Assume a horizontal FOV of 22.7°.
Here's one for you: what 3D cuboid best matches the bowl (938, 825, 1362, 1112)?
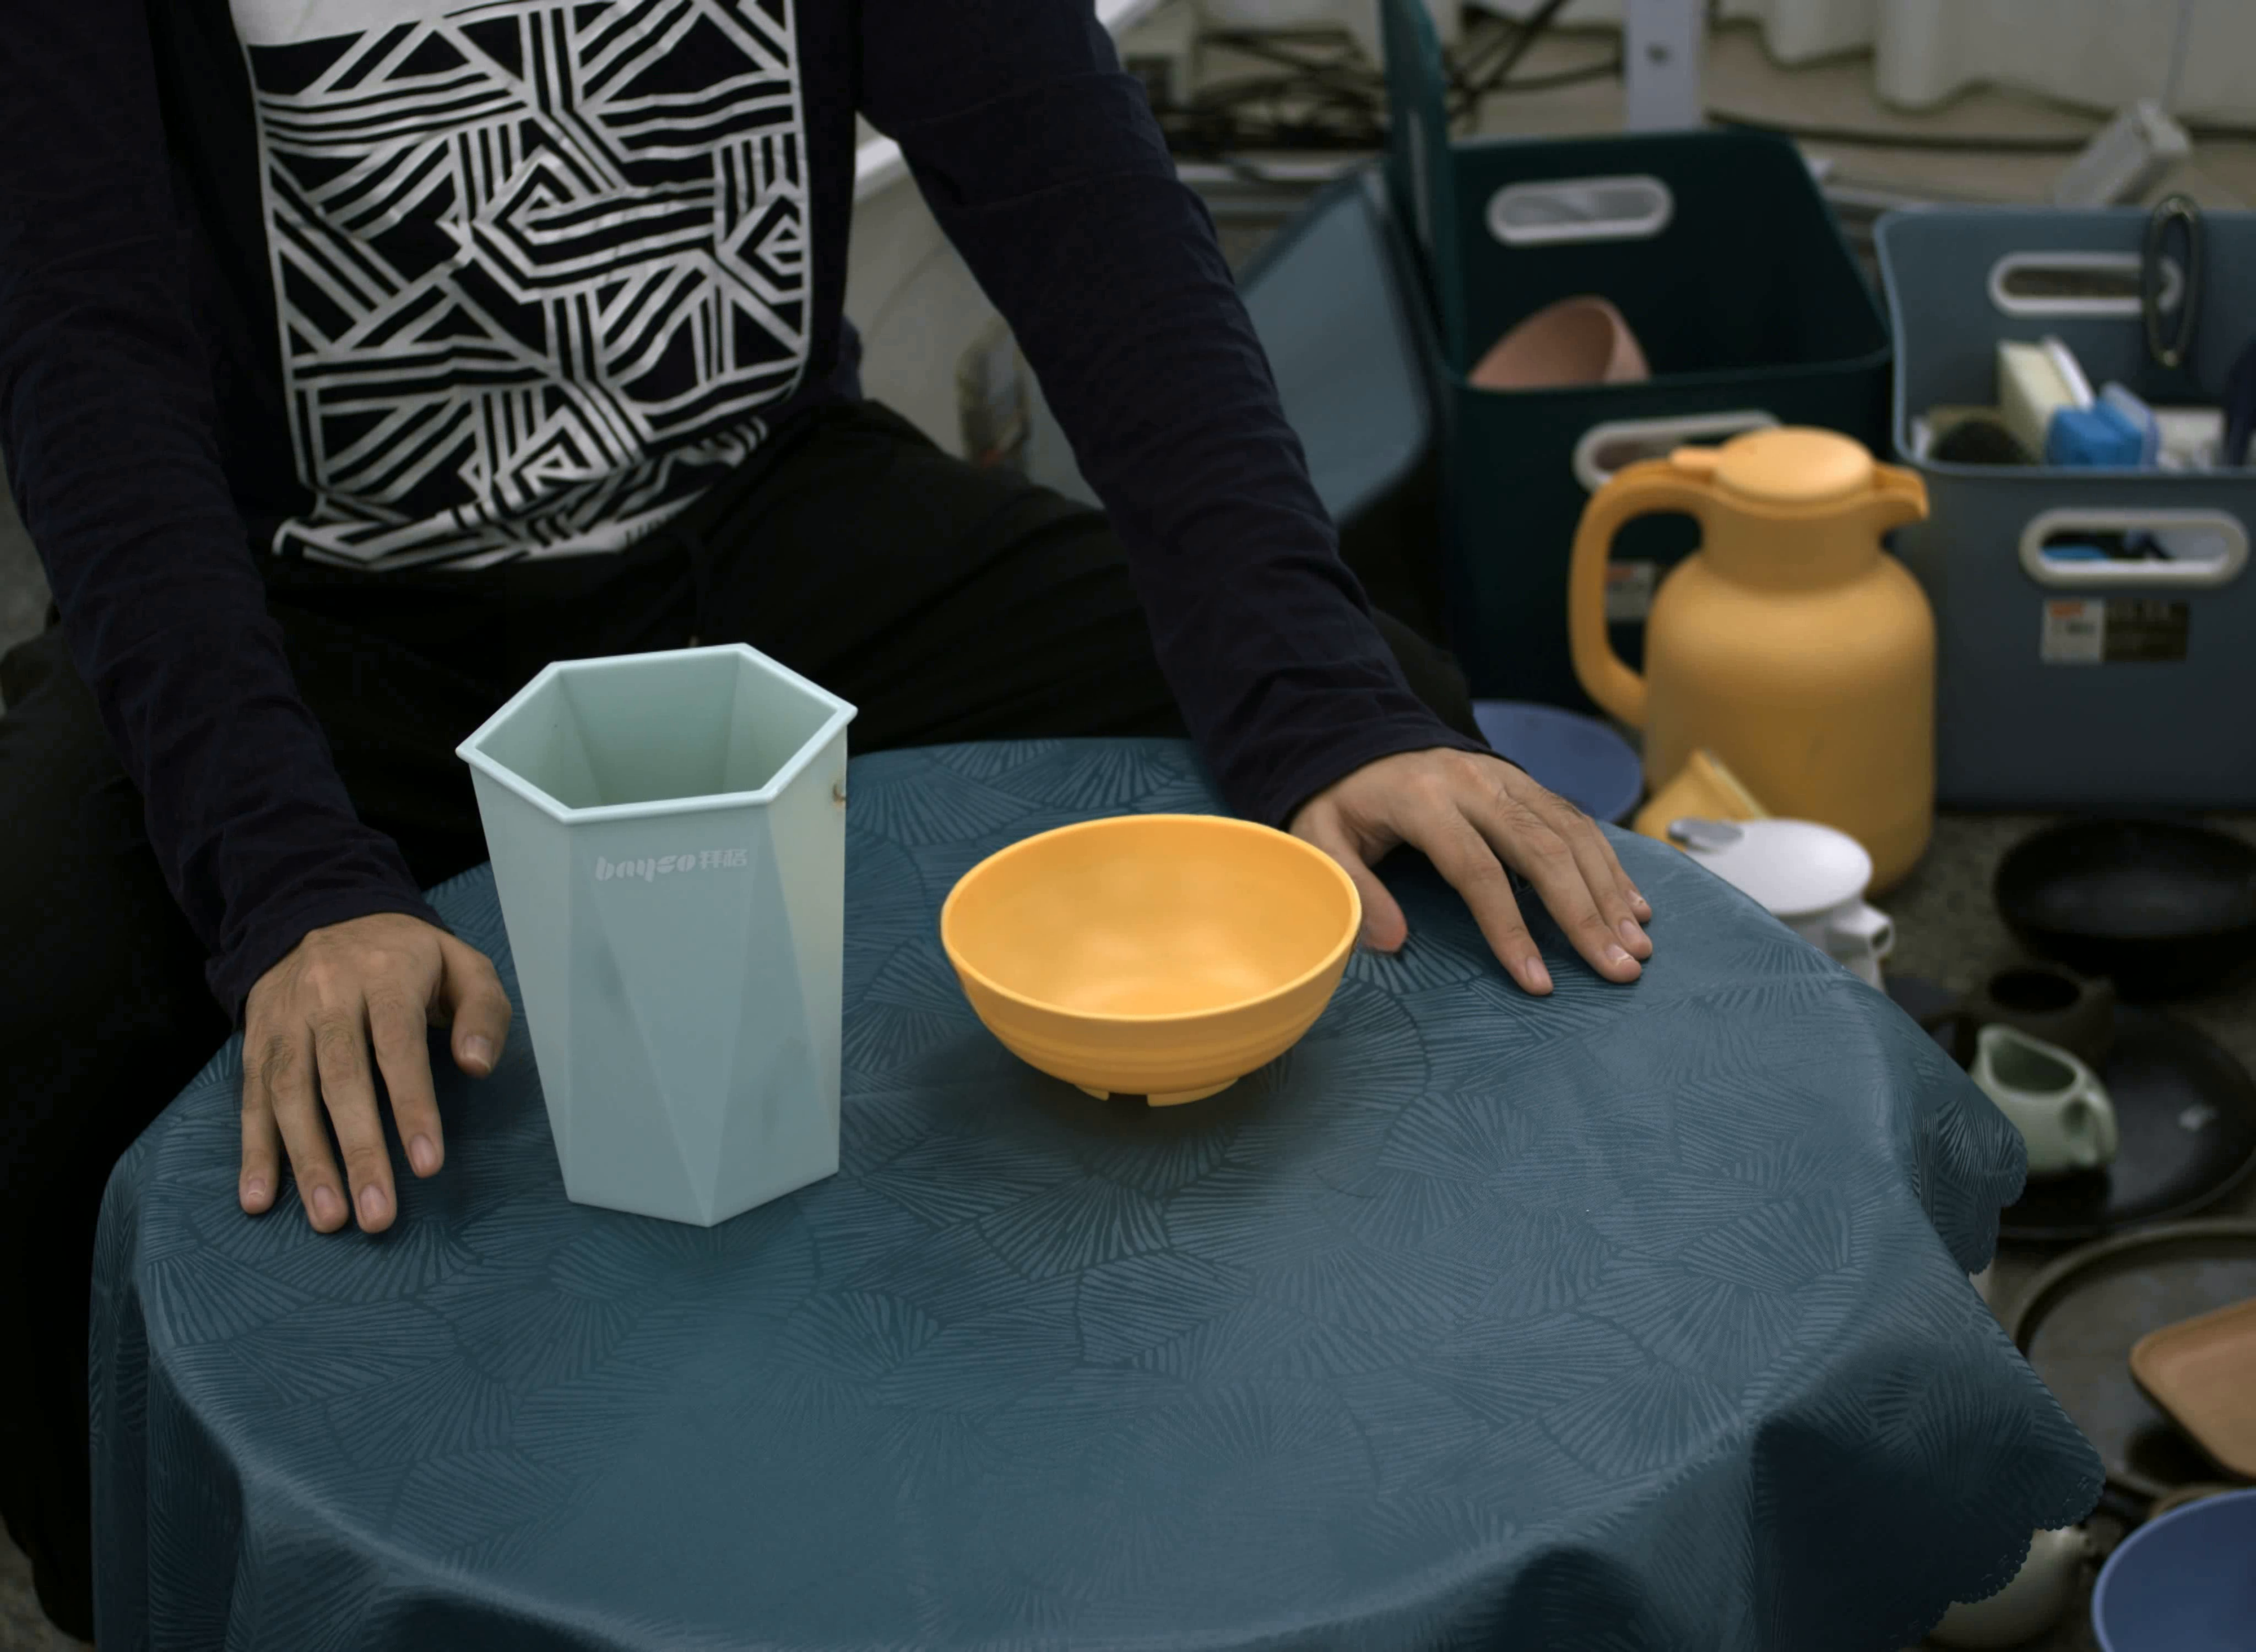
[{"bbox_3d":[0.008,0.057,1.927,0.144,0.059,0.147,-2,25,1],"label":"bowl"}]

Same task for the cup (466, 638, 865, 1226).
[{"bbox_3d":[-0.147,0.037,1.860,0.131,0.161,0.116,-6,25,-7],"label":"cup"}]
